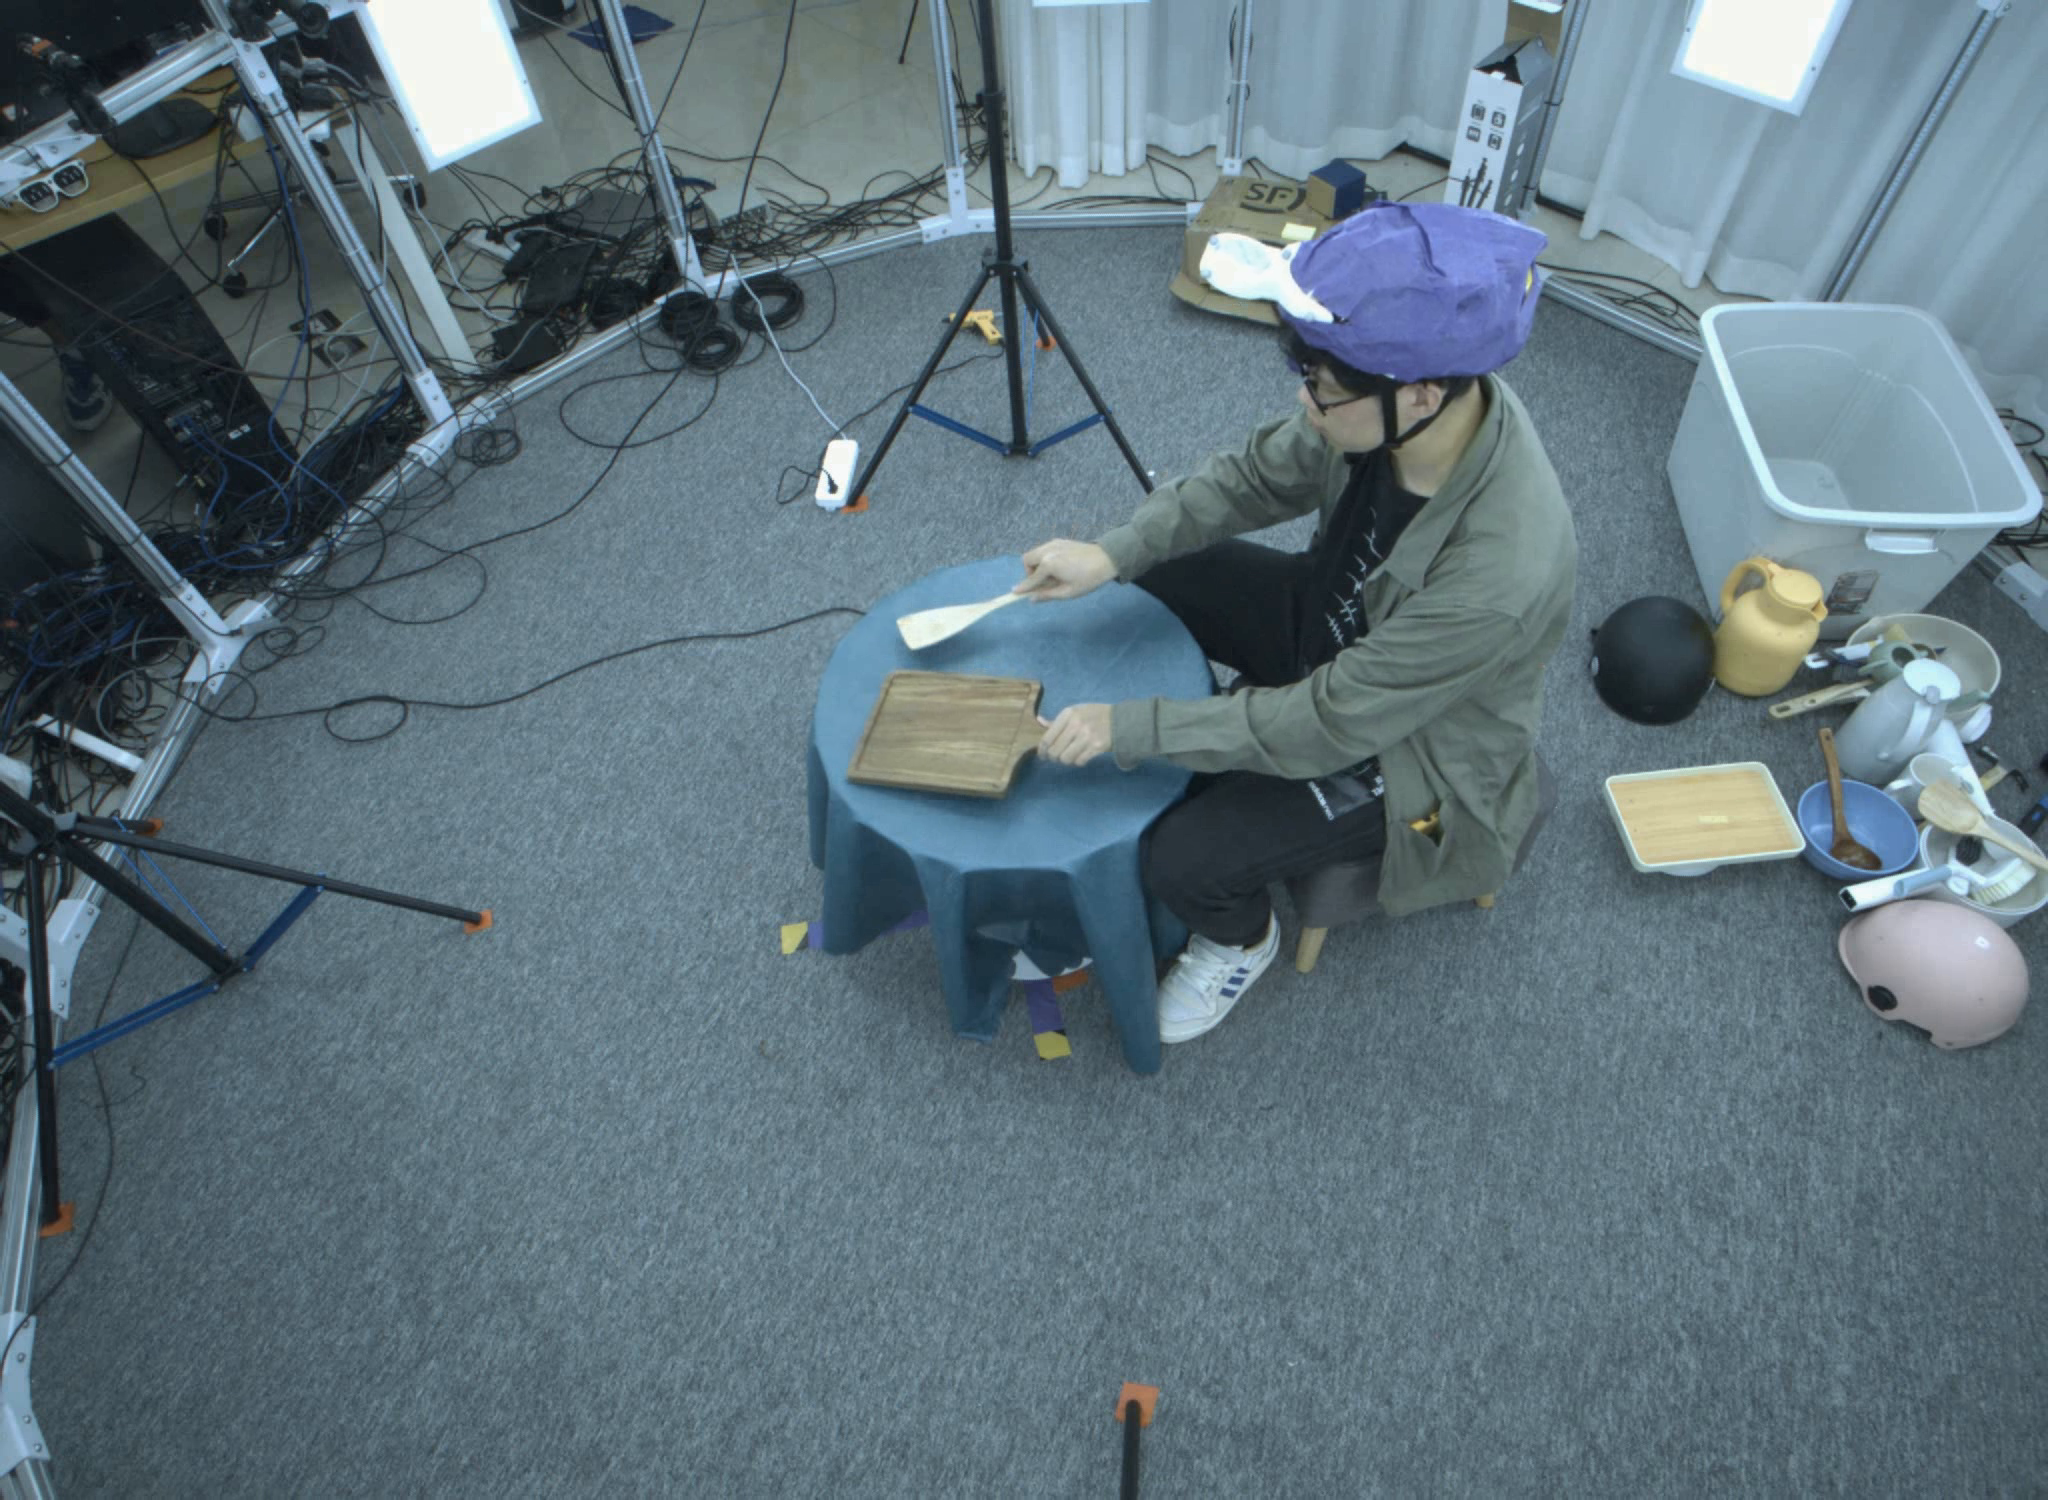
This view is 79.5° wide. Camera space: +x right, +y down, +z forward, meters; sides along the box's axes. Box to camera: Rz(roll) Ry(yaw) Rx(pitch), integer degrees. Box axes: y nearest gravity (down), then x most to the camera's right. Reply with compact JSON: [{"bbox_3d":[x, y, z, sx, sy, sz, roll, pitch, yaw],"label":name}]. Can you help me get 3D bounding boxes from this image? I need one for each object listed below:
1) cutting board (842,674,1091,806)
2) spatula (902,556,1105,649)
[{"bbox_3d":[-0.074,-0.014,1.750,0.347,0.023,0.200,7,58,19],"label":"cutting board"},{"bbox_3d":[-0.031,-0.232,1.872,0.327,0.017,0.078,-21,50,5],"label":"spatula"}]
